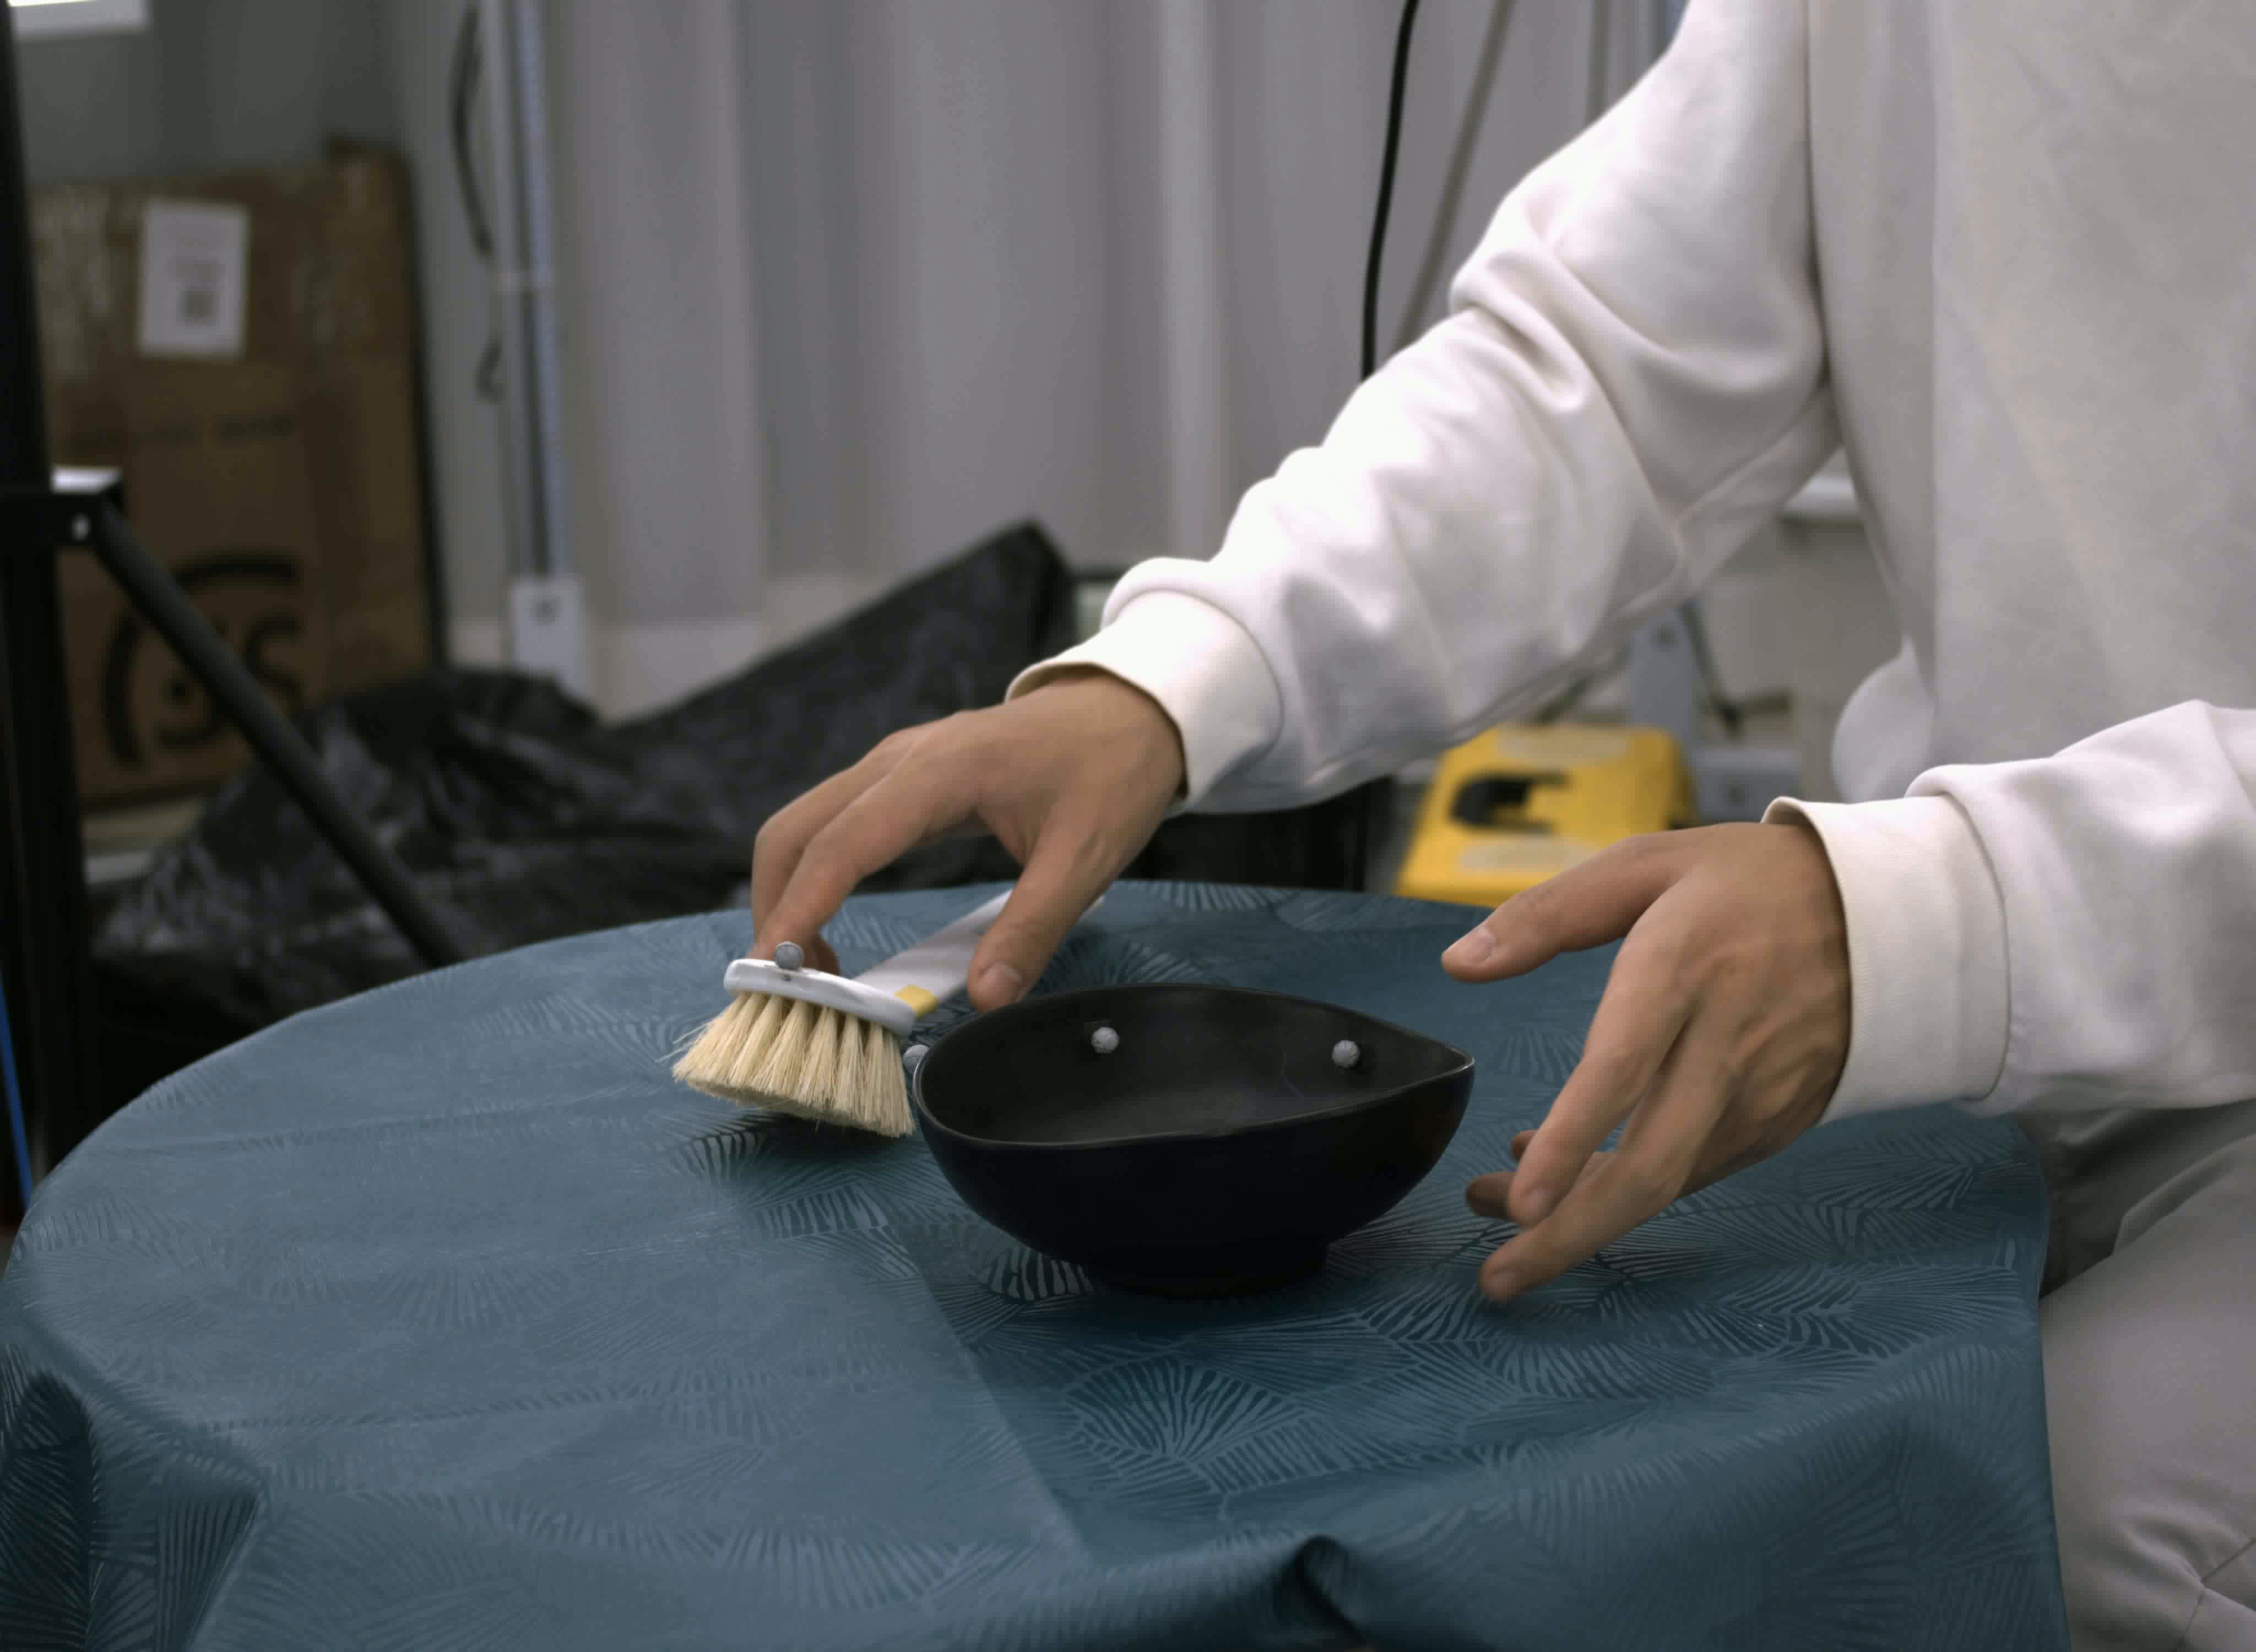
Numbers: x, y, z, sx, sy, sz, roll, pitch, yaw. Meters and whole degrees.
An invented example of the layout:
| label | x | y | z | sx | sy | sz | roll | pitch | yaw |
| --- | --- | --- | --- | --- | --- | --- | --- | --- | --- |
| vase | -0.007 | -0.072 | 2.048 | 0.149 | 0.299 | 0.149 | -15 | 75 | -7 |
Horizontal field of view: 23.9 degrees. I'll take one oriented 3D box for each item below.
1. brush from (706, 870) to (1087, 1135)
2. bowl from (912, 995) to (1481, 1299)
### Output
| label | x | y | z | sx | sy | sz | roll | pitch | yaw |
| --- | --- | --- | --- | --- | --- | --- | --- | --- | --- |
| brush | -0.063 | 0.055 | 1.709 | 0.069 | 0.056 | 0.263 | 17 | 9 | 13 |
| bowl | 0.019 | 0.093 | 1.495 | 0.166 | 0.067 | 0.140 | -9 | 16 | -32 |
